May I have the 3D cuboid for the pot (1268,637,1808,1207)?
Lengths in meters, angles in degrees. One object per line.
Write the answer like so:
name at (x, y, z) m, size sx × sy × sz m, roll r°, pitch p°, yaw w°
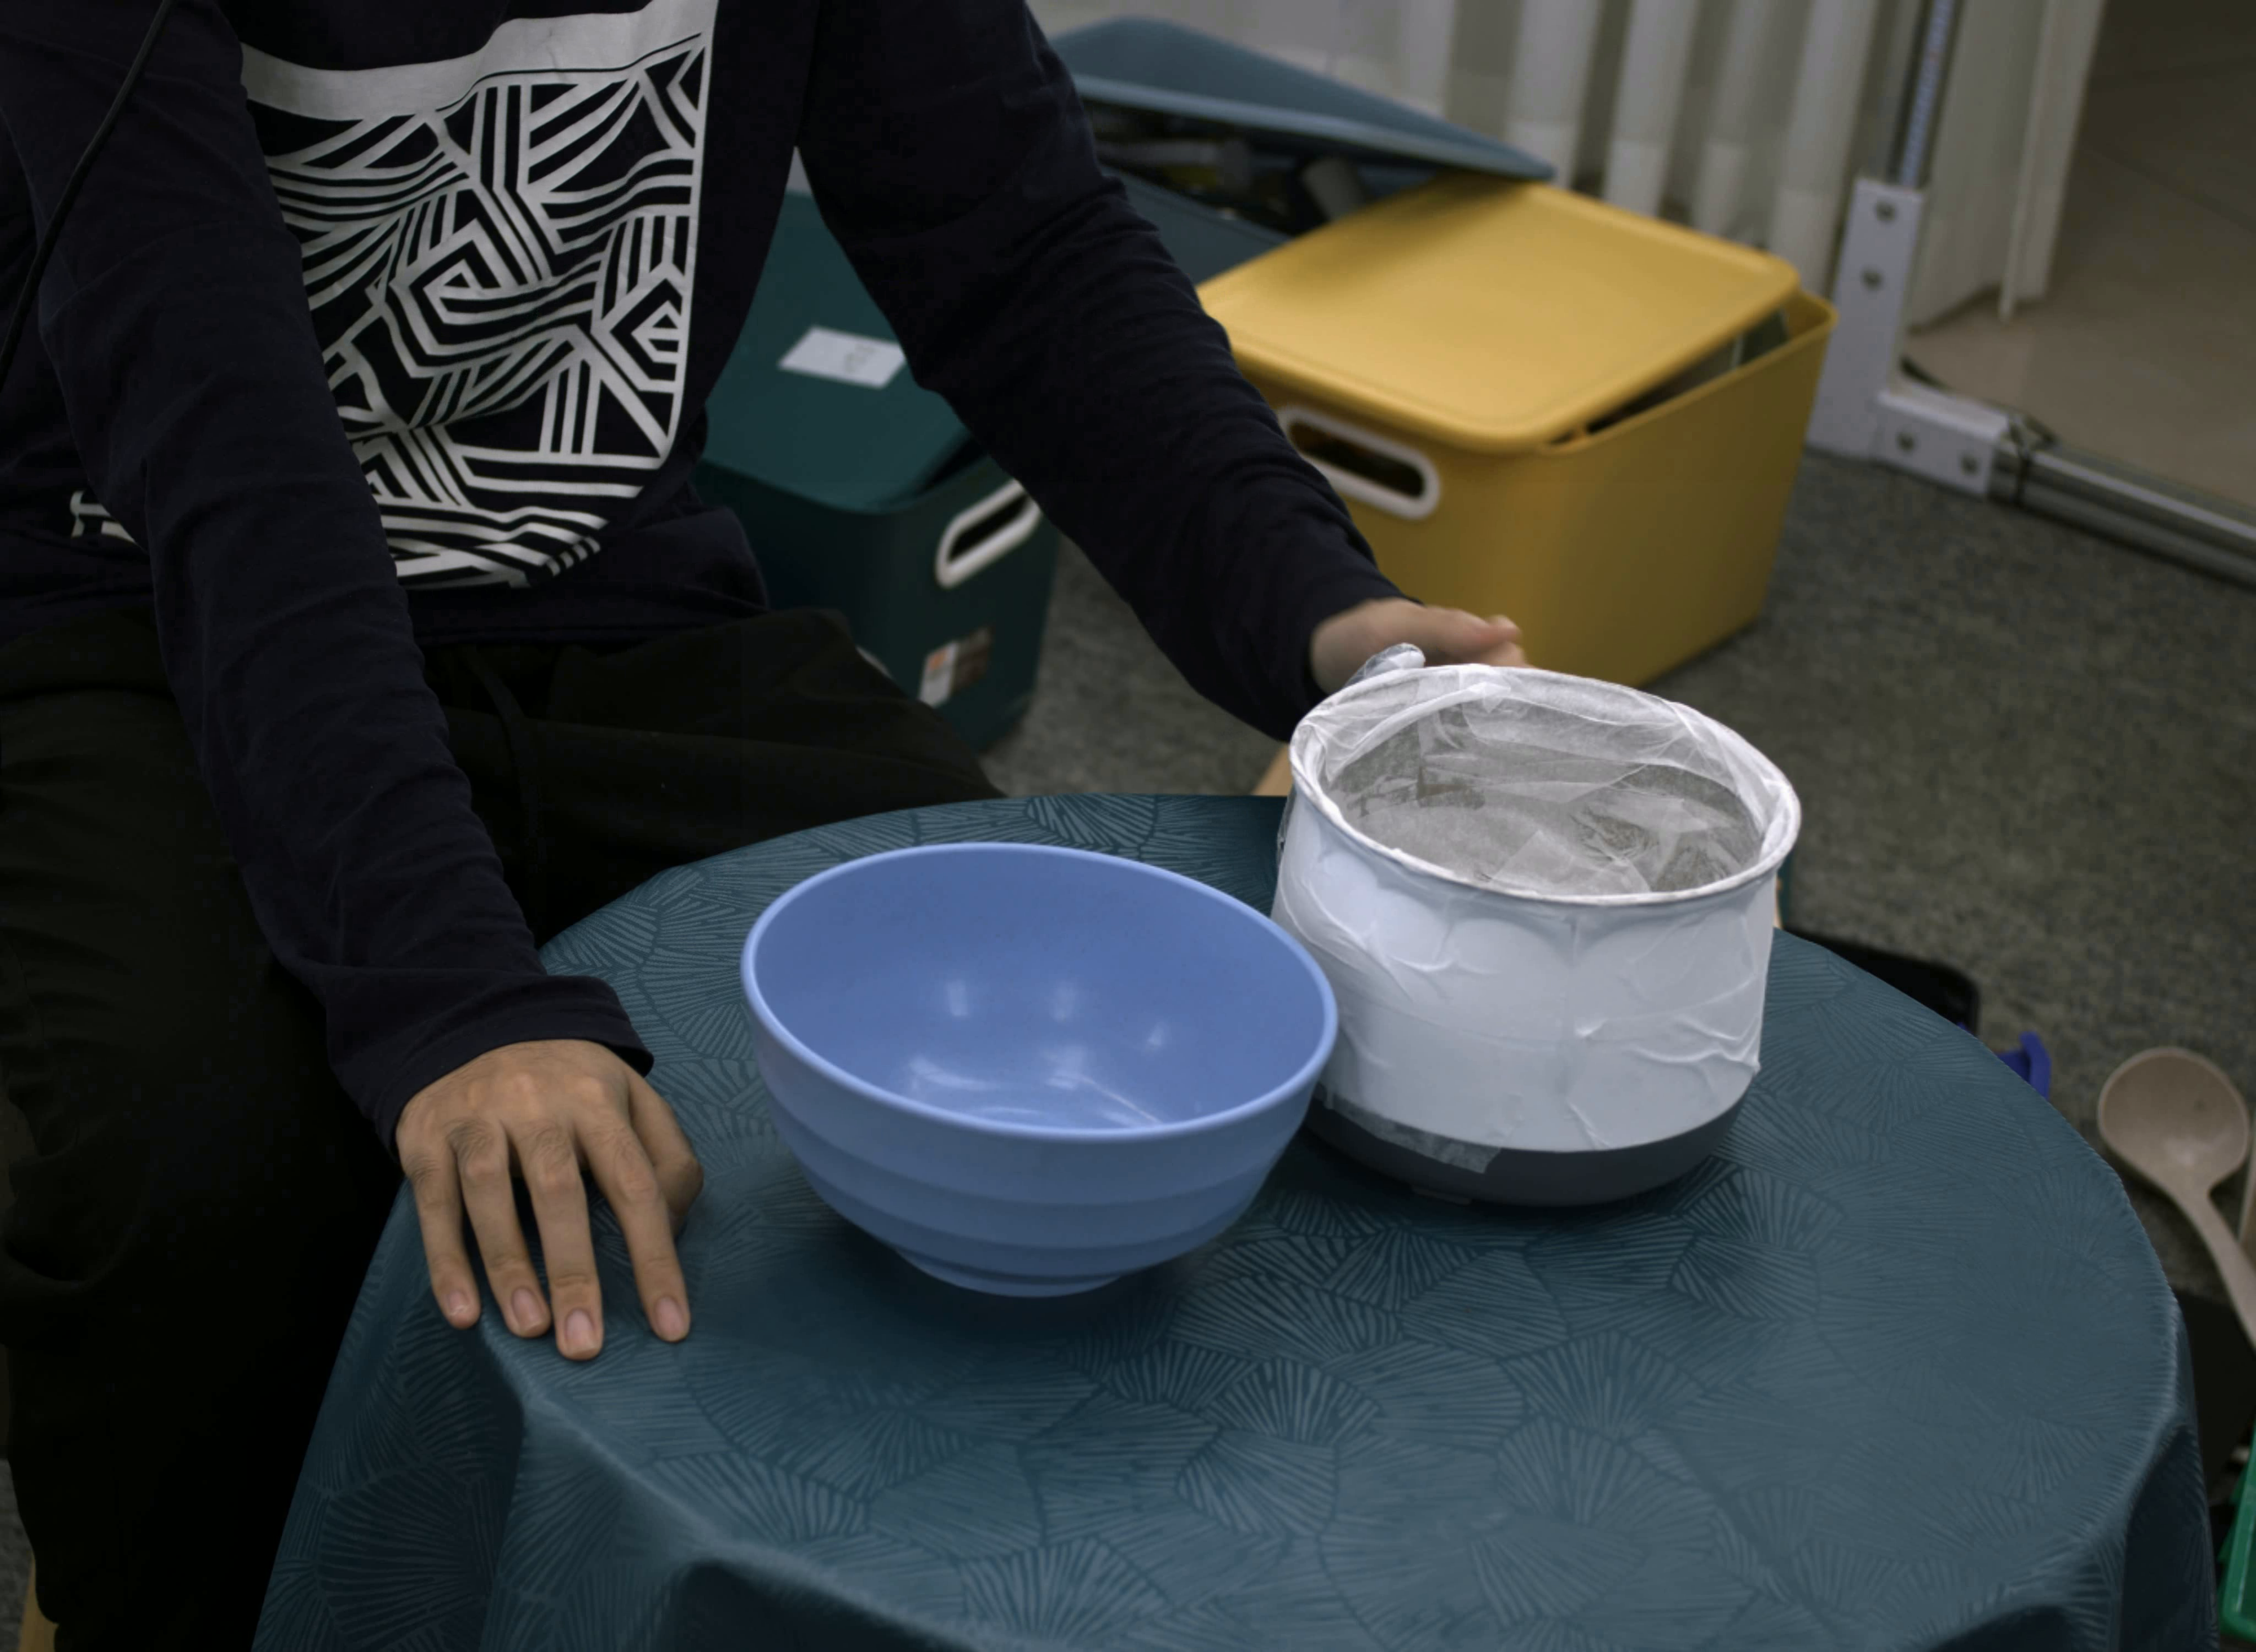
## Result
pot at (0.123, 0.027, 1.871) m, size 0.177 × 0.136 × 0.236 m, roll -6°, pitch 30°, yaw -29°

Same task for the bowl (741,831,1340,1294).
bowl at (-0.033, 0.090, 1.756) m, size 0.196 × 0.095 × 0.198 m, roll 5°, pitch 29°, yaw -3°
